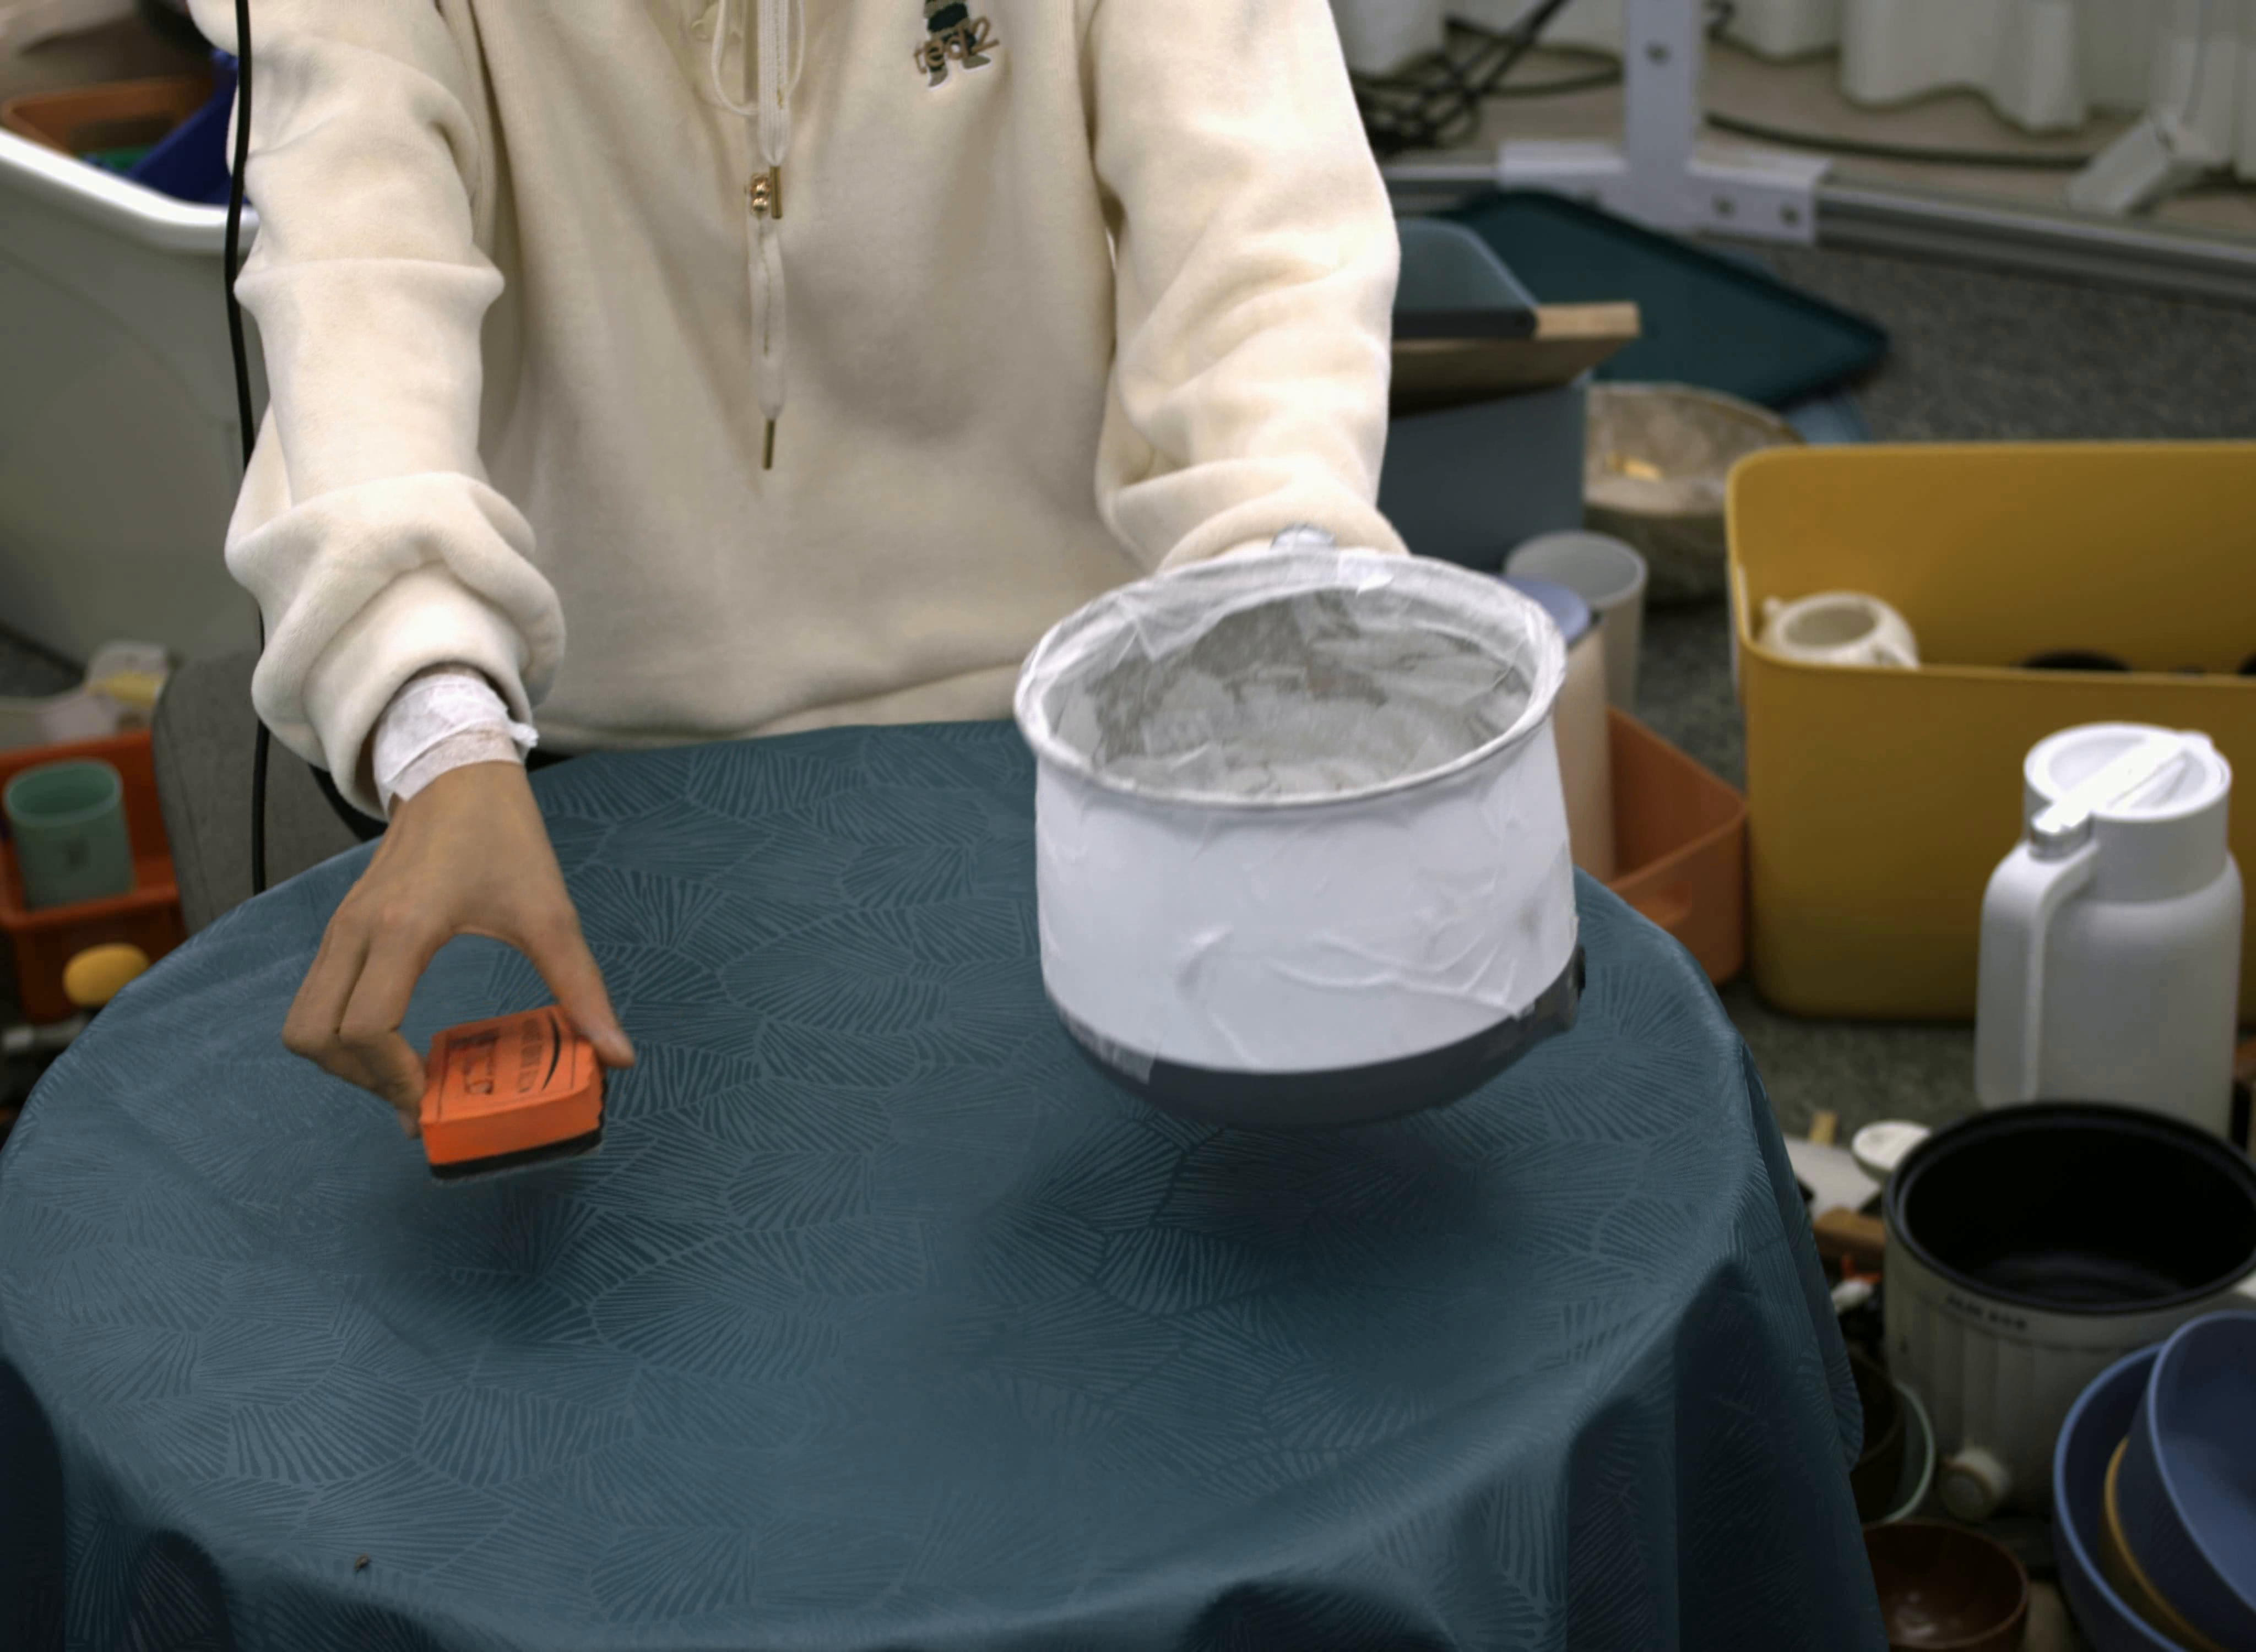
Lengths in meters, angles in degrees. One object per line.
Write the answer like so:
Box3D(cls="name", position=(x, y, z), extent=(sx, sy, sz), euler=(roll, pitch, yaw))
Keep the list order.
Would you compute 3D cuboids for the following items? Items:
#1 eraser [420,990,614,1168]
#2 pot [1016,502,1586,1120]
Box3D(cls="eraser", position=(-0.200, 0.083, 1.847), extent=(0.059, 0.023, 0.109), euler=(-13, 13, 0))
Box3D(cls="pot", position=(0.058, -0.012, 1.840), extent=(0.178, 0.135, 0.237), euler=(-2, 29, 3))
